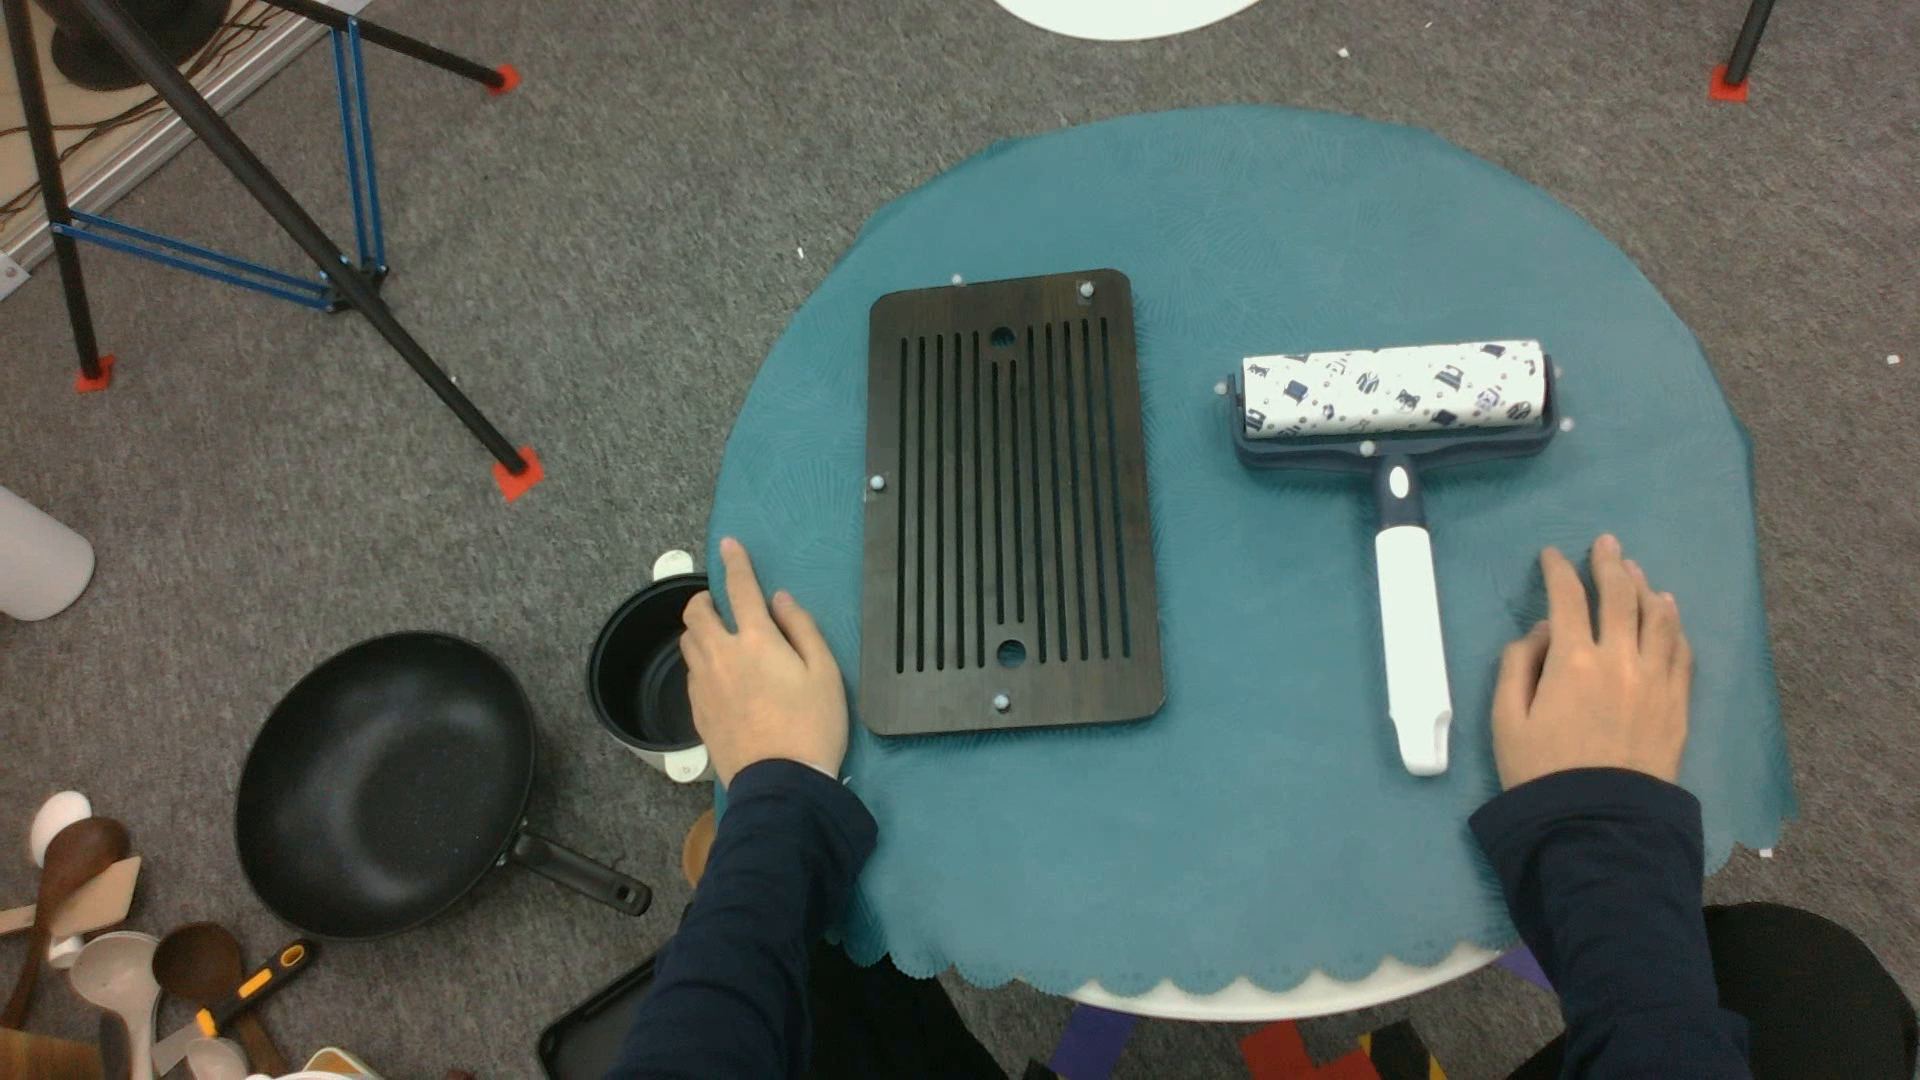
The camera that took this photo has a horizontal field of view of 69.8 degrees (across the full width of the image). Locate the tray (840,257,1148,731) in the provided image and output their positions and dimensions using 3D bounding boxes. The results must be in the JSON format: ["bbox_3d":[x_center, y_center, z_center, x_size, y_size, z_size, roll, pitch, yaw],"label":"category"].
[{"bbox_3d":[0.017,-0.036,0.818,0.170,0.018,0.307,-4,63,7],"label":"tray"}]

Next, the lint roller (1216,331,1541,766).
[{"bbox_3d":[0.236,-0.002,0.750,0.176,0.050,0.248,-2,65,8],"label":"lint roller"}]
